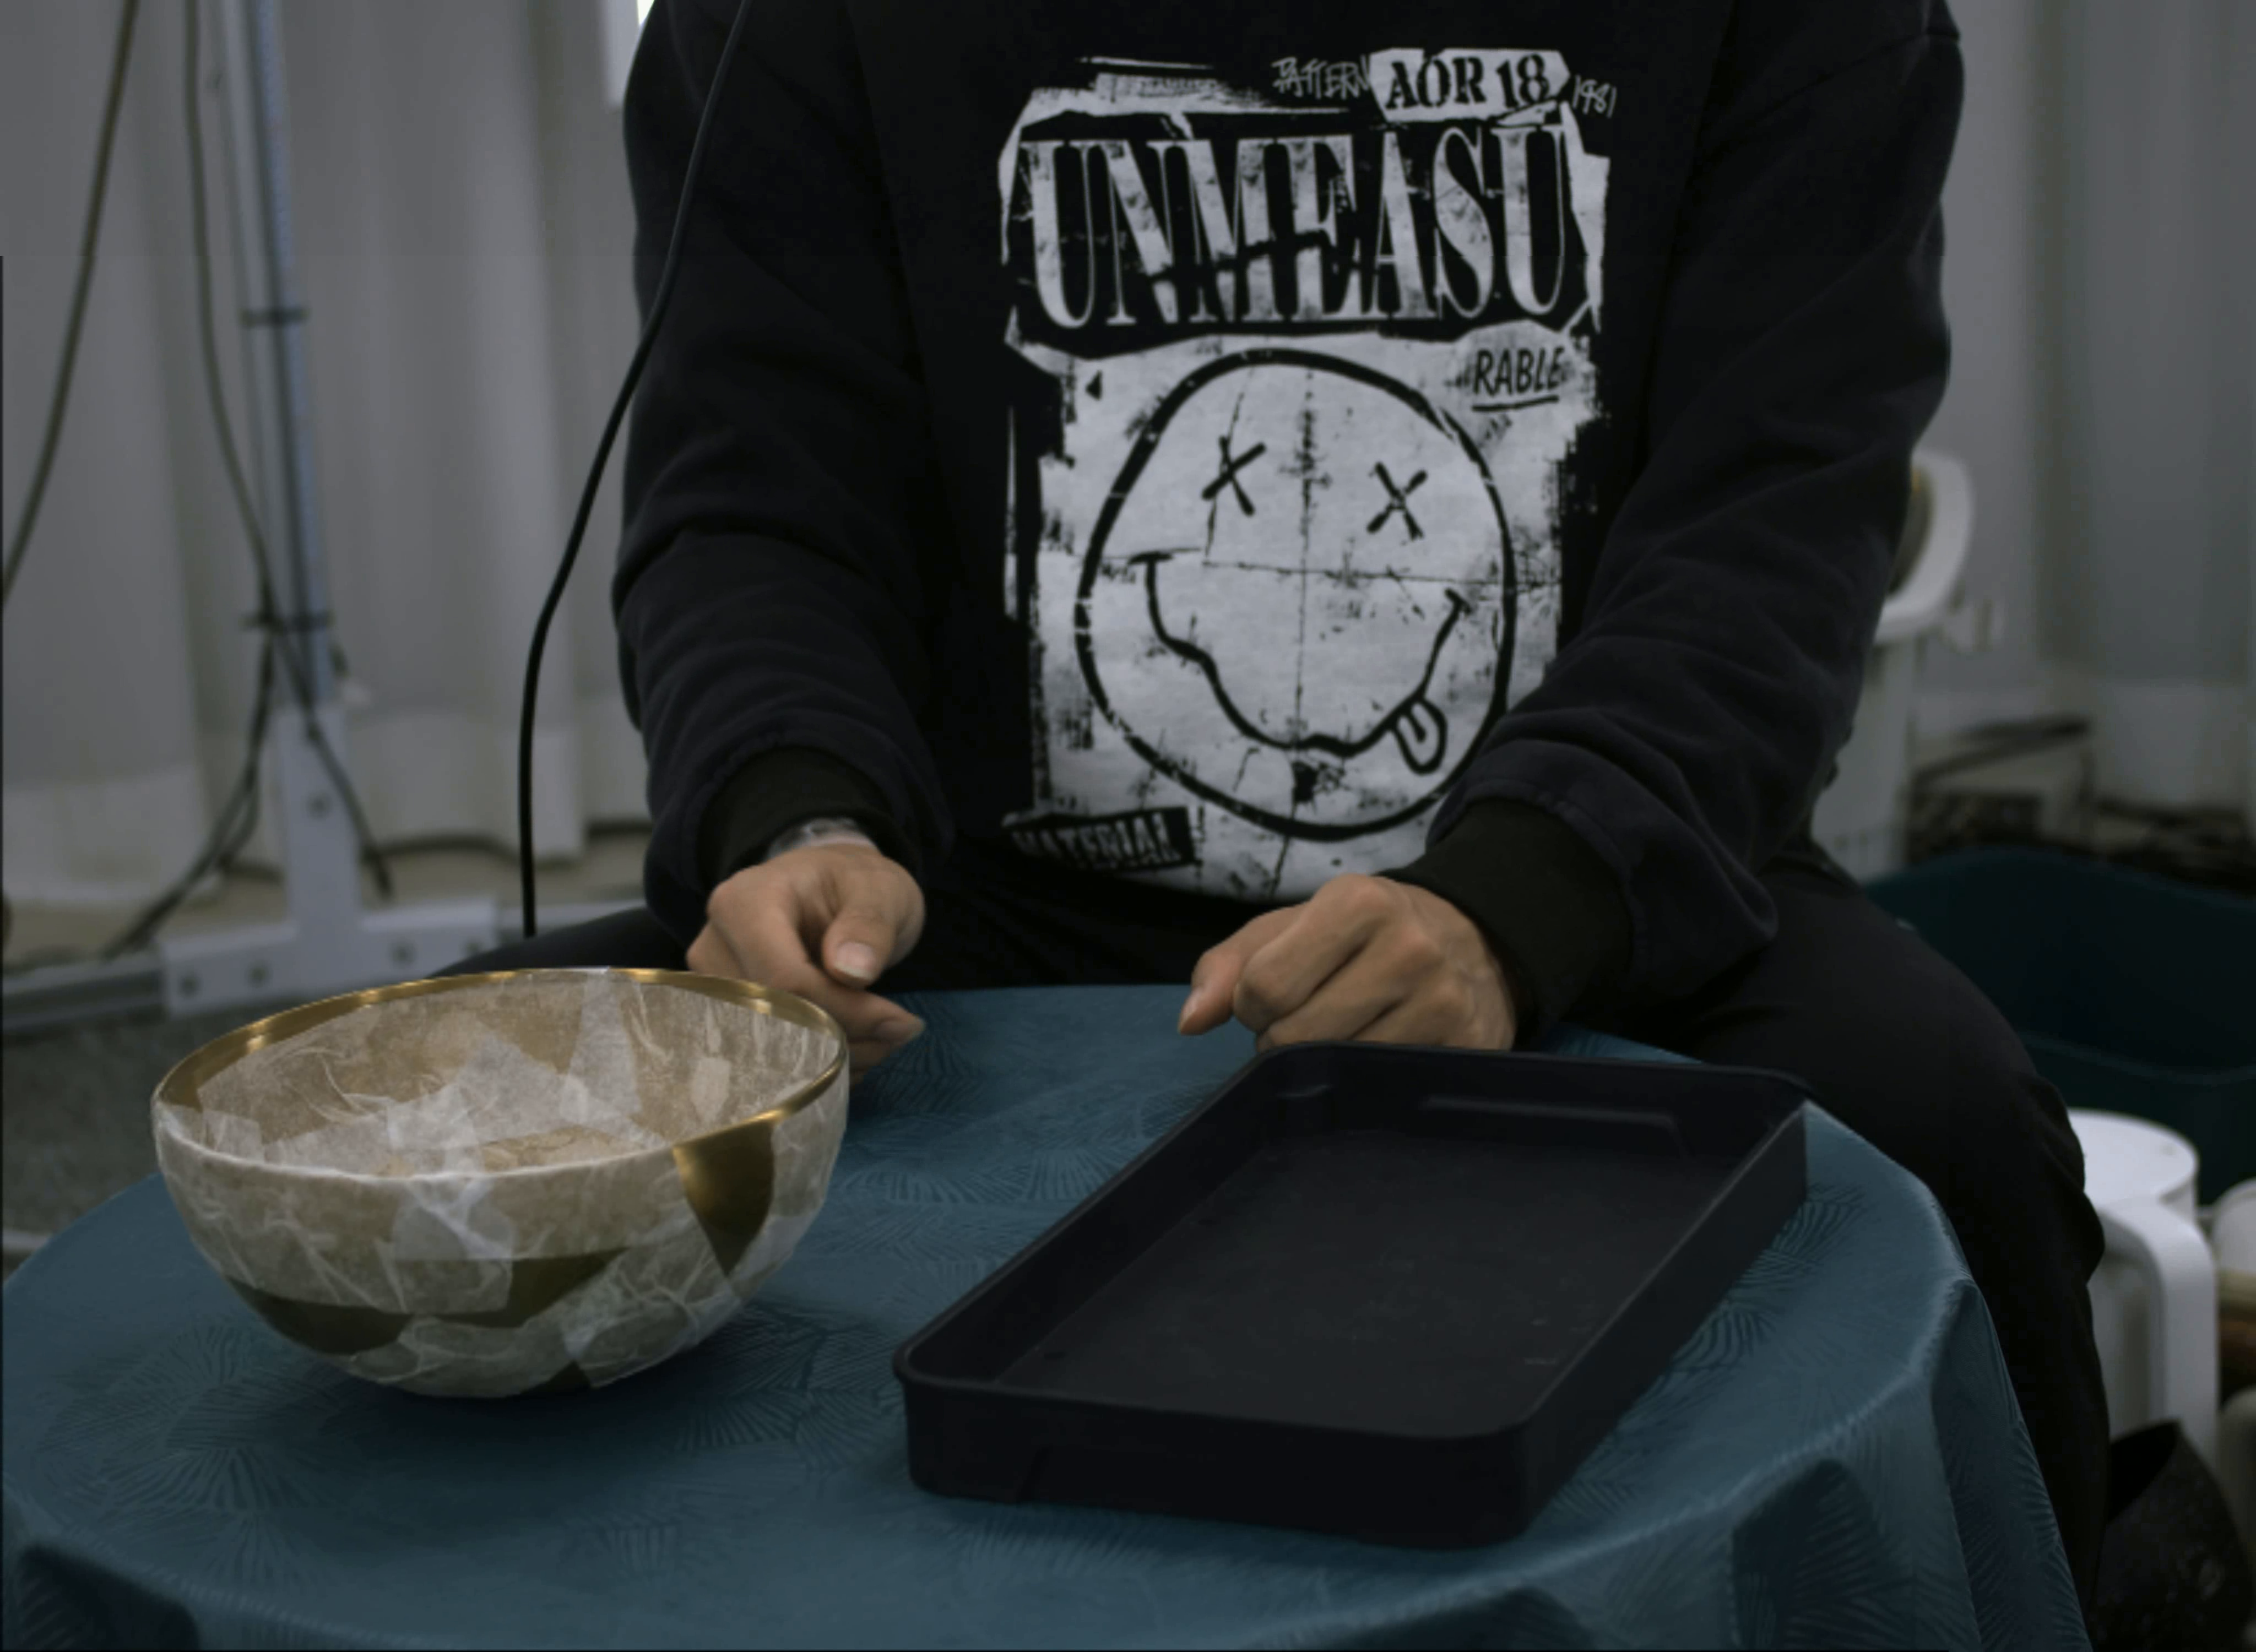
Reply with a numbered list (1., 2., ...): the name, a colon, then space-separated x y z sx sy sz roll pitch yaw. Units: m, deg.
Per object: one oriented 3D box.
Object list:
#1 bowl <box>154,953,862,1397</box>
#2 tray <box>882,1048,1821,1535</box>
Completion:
1. bowl: -0.174 0.110 1.587 0.214 0.094 0.216 -4 14 1
2. tray: 0.073 0.127 1.578 0.184 0.037 0.318 2 15 24
